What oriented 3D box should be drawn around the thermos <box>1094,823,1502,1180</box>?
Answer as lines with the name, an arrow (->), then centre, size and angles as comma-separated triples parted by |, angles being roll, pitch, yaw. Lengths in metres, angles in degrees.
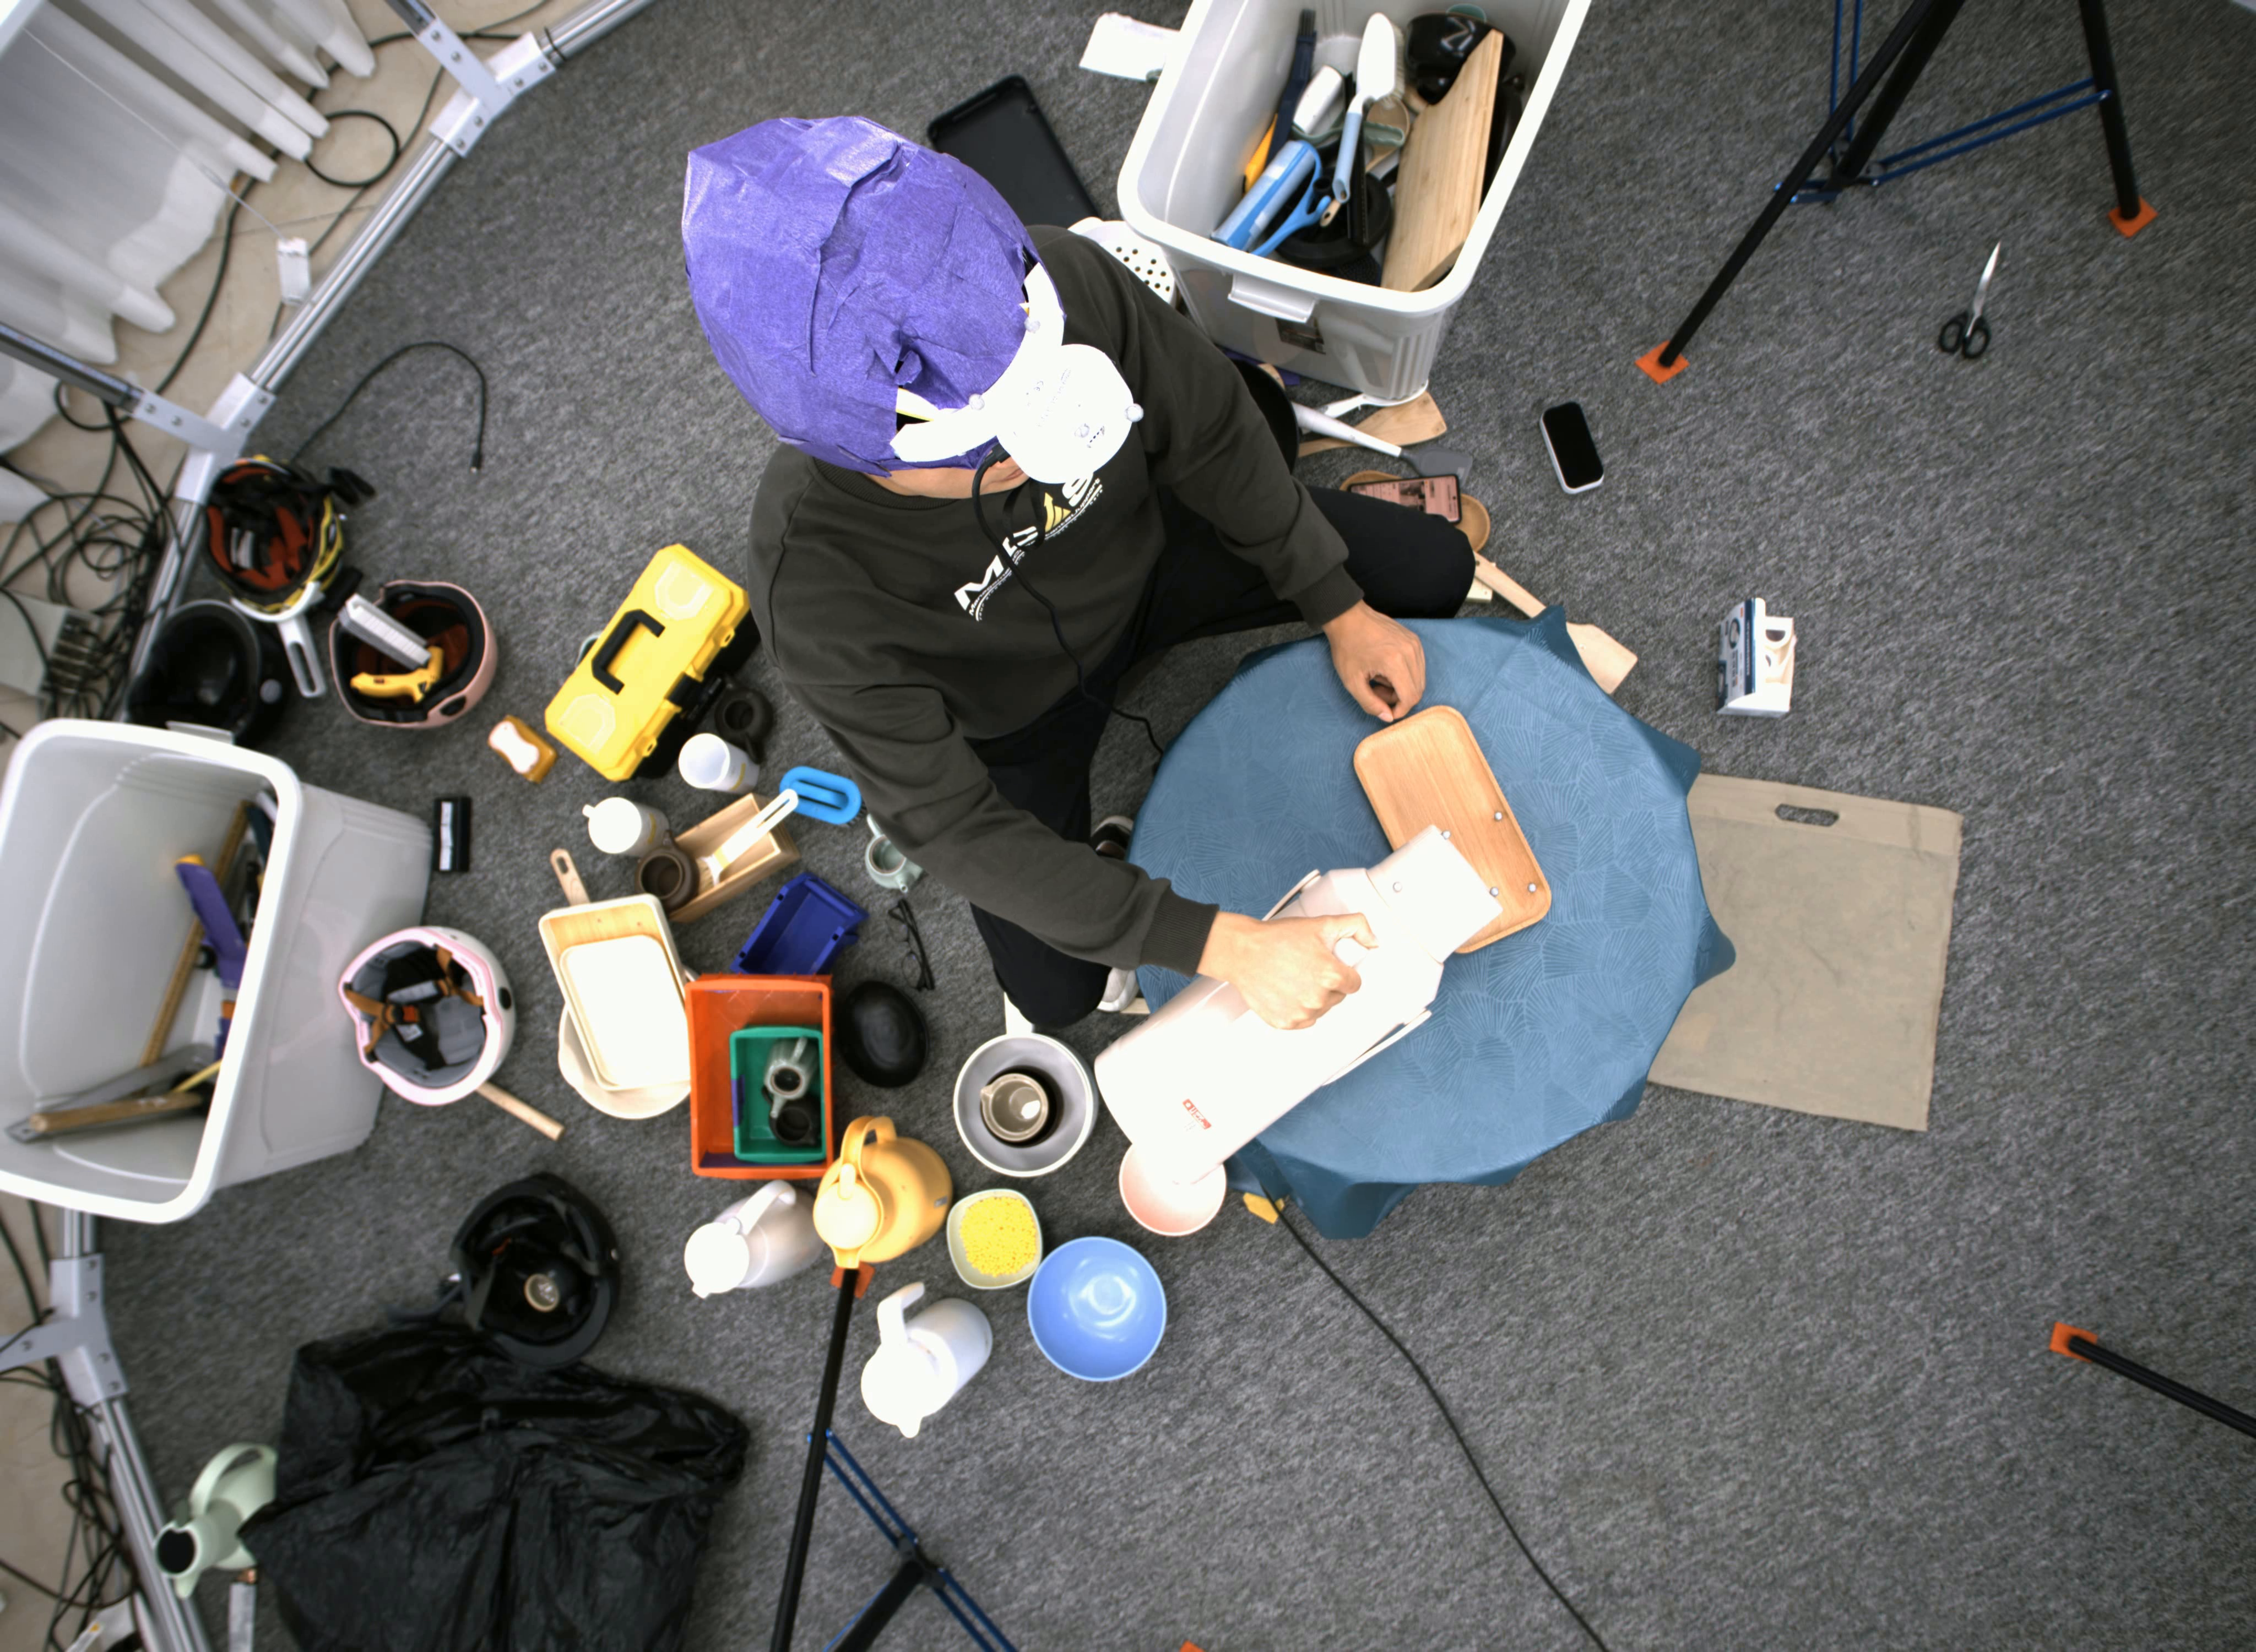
thermos -> 0.161, 0.160, 1.319 | 0.411, 0.206, 0.174 | -39, 78, 15

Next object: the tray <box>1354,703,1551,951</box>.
tray -> 0.339, -0.001, 1.443 | 0.131, 0.023, 0.249 | -24, 82, 6
